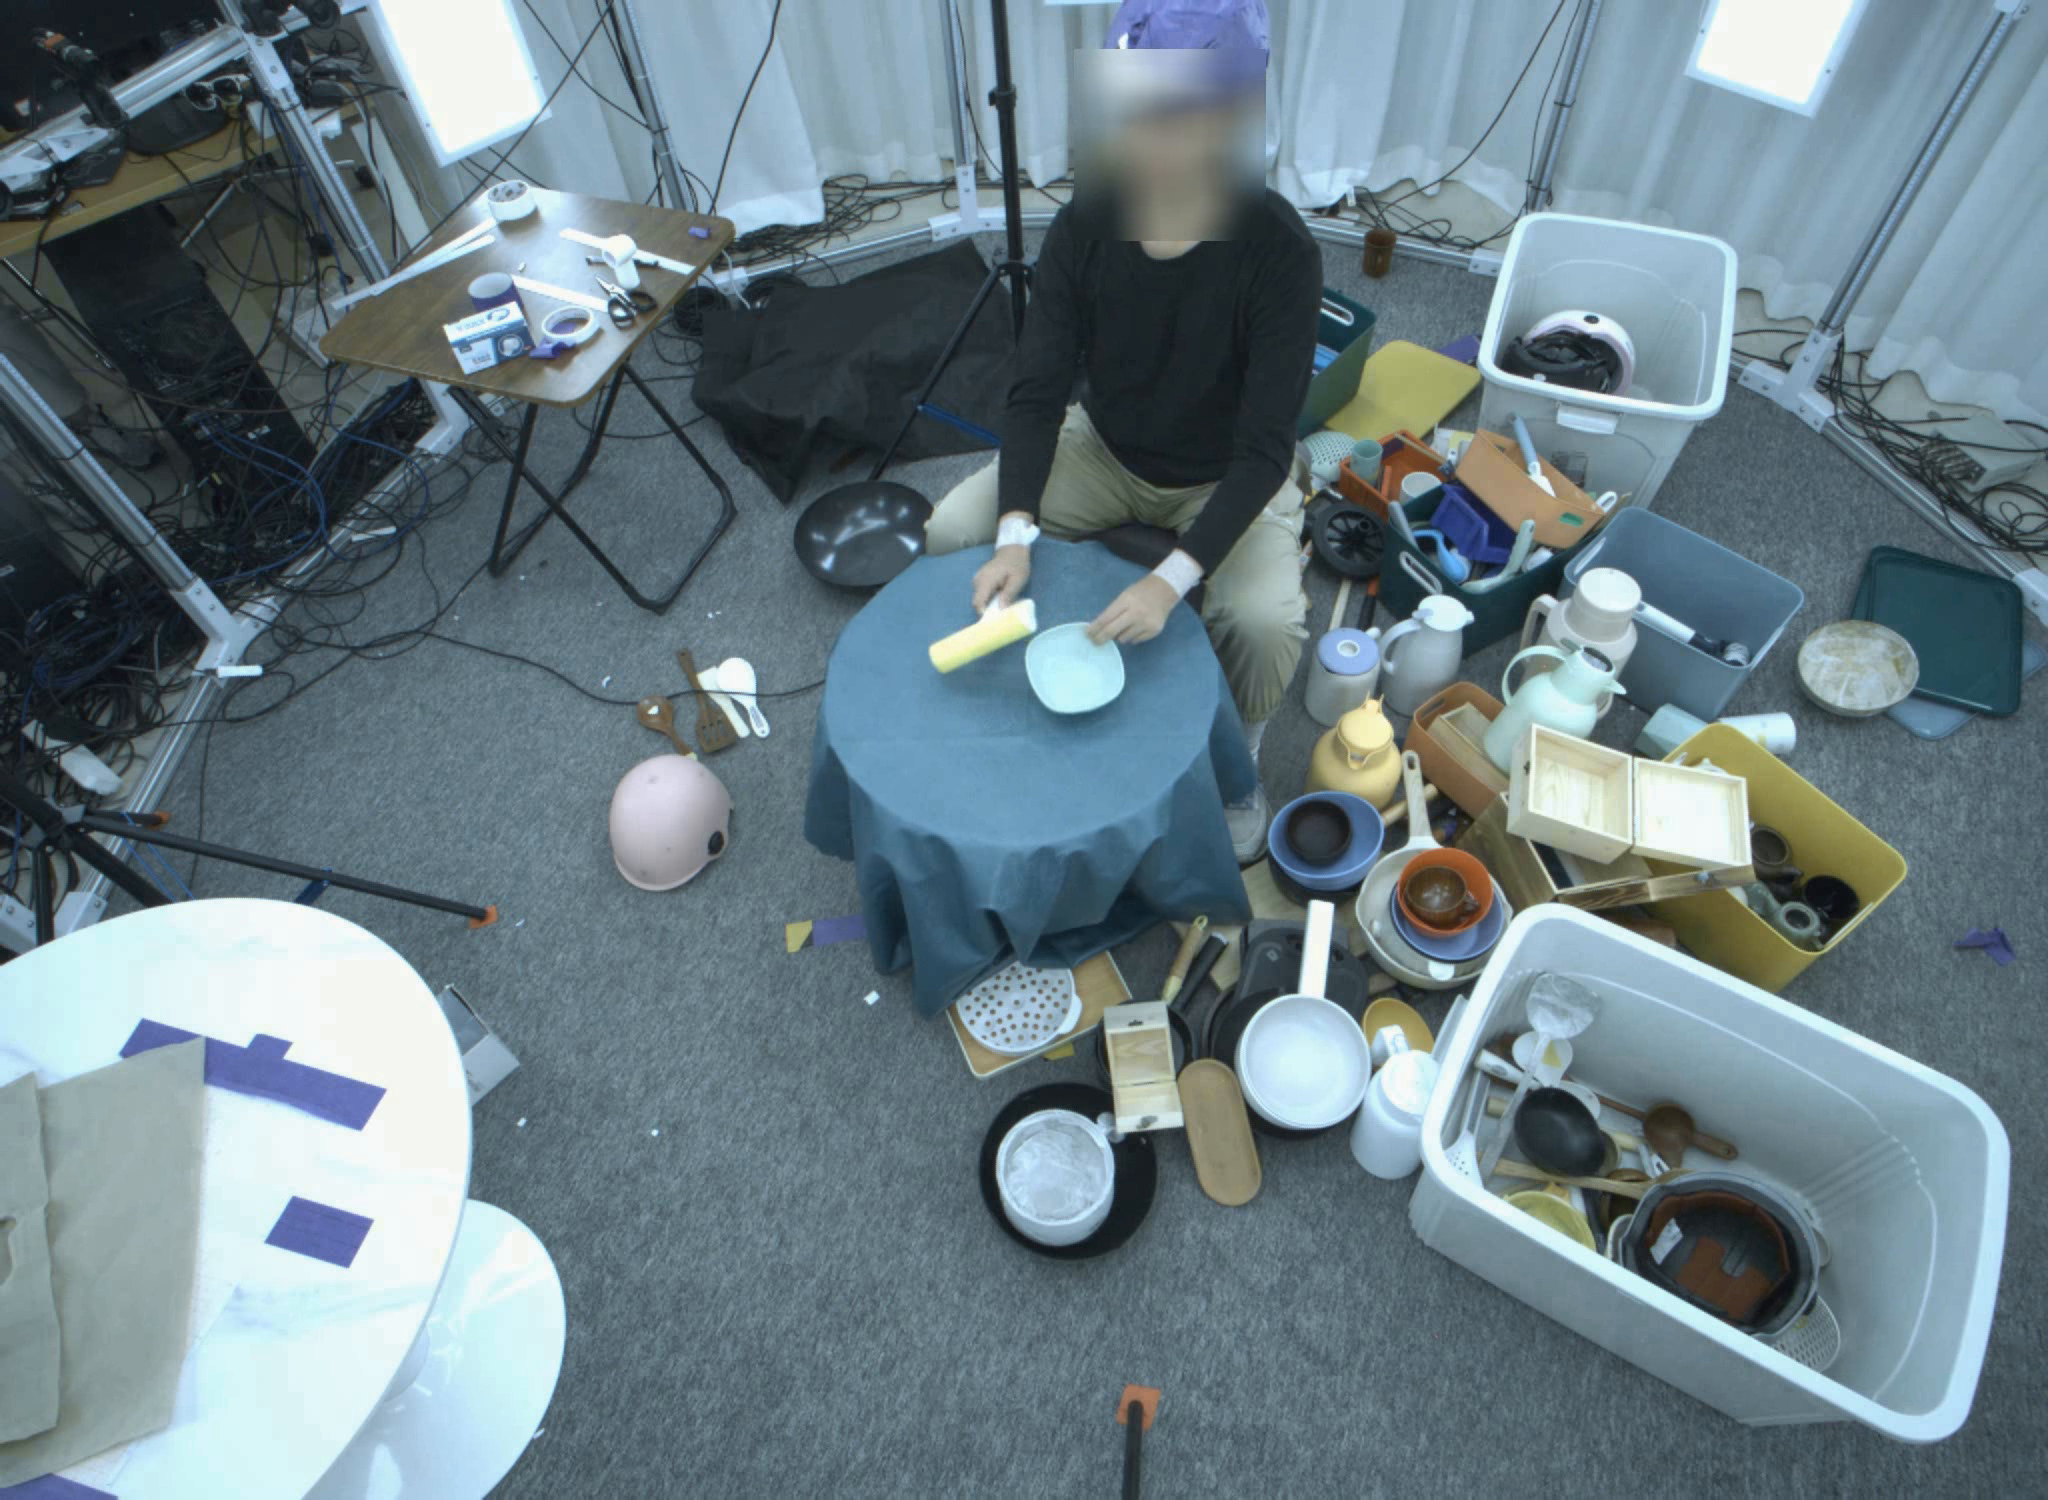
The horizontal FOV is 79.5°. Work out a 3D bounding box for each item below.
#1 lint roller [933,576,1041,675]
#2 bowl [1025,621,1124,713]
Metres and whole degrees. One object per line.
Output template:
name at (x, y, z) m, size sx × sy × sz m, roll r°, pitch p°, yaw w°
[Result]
lint roller at (-0.054, -0.213, 1.852) m, size 0.172 × 0.052 × 0.190 m, roll -23°, pitch 42°, yaw 23°
bowl at (0.072, -0.113, 1.817) m, size 0.152 × 0.059 × 0.150 m, roll 2°, pitch 72°, yaw -5°
